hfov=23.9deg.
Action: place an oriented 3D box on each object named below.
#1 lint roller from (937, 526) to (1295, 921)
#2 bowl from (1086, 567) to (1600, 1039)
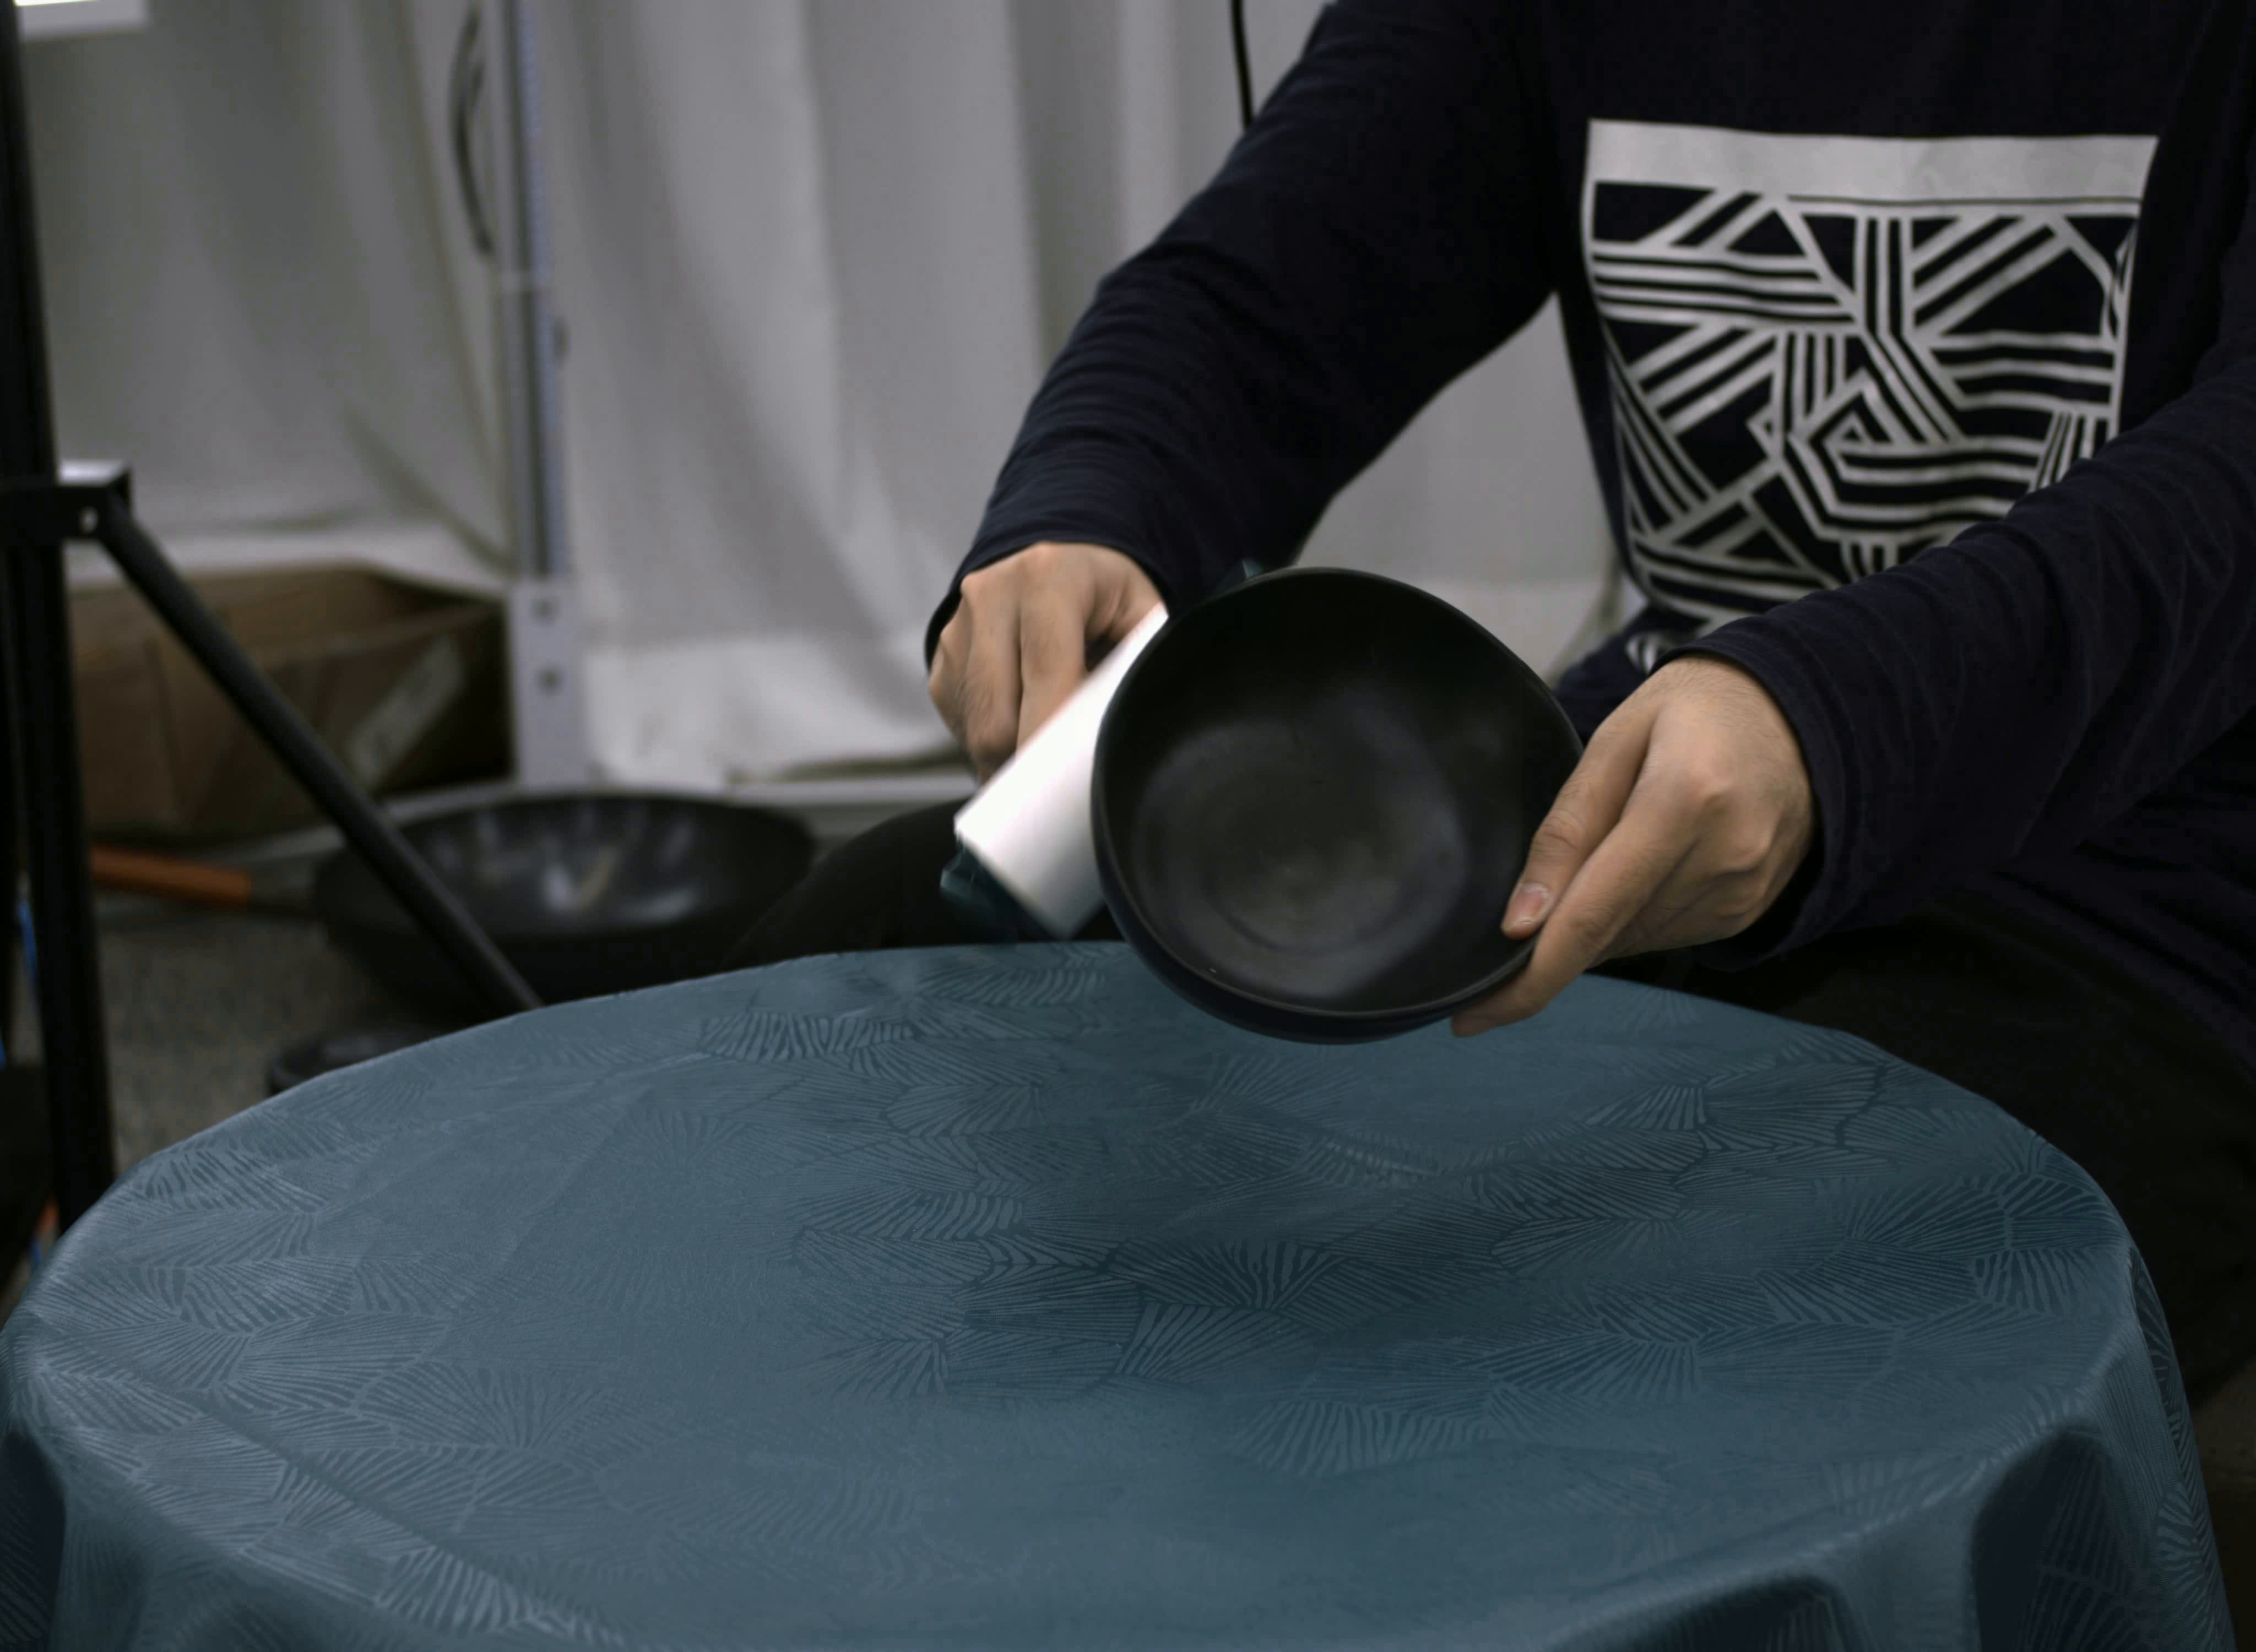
[{"bbox_3d":[-0.015,-0.040,1.598,0.134,0.048,0.182,-48,16,-1],"label":"lint roller"},{"bbox_3d":[0.052,0.001,1.484,0.167,0.139,0.067,-30,-14,-35],"label":"bowl"}]
